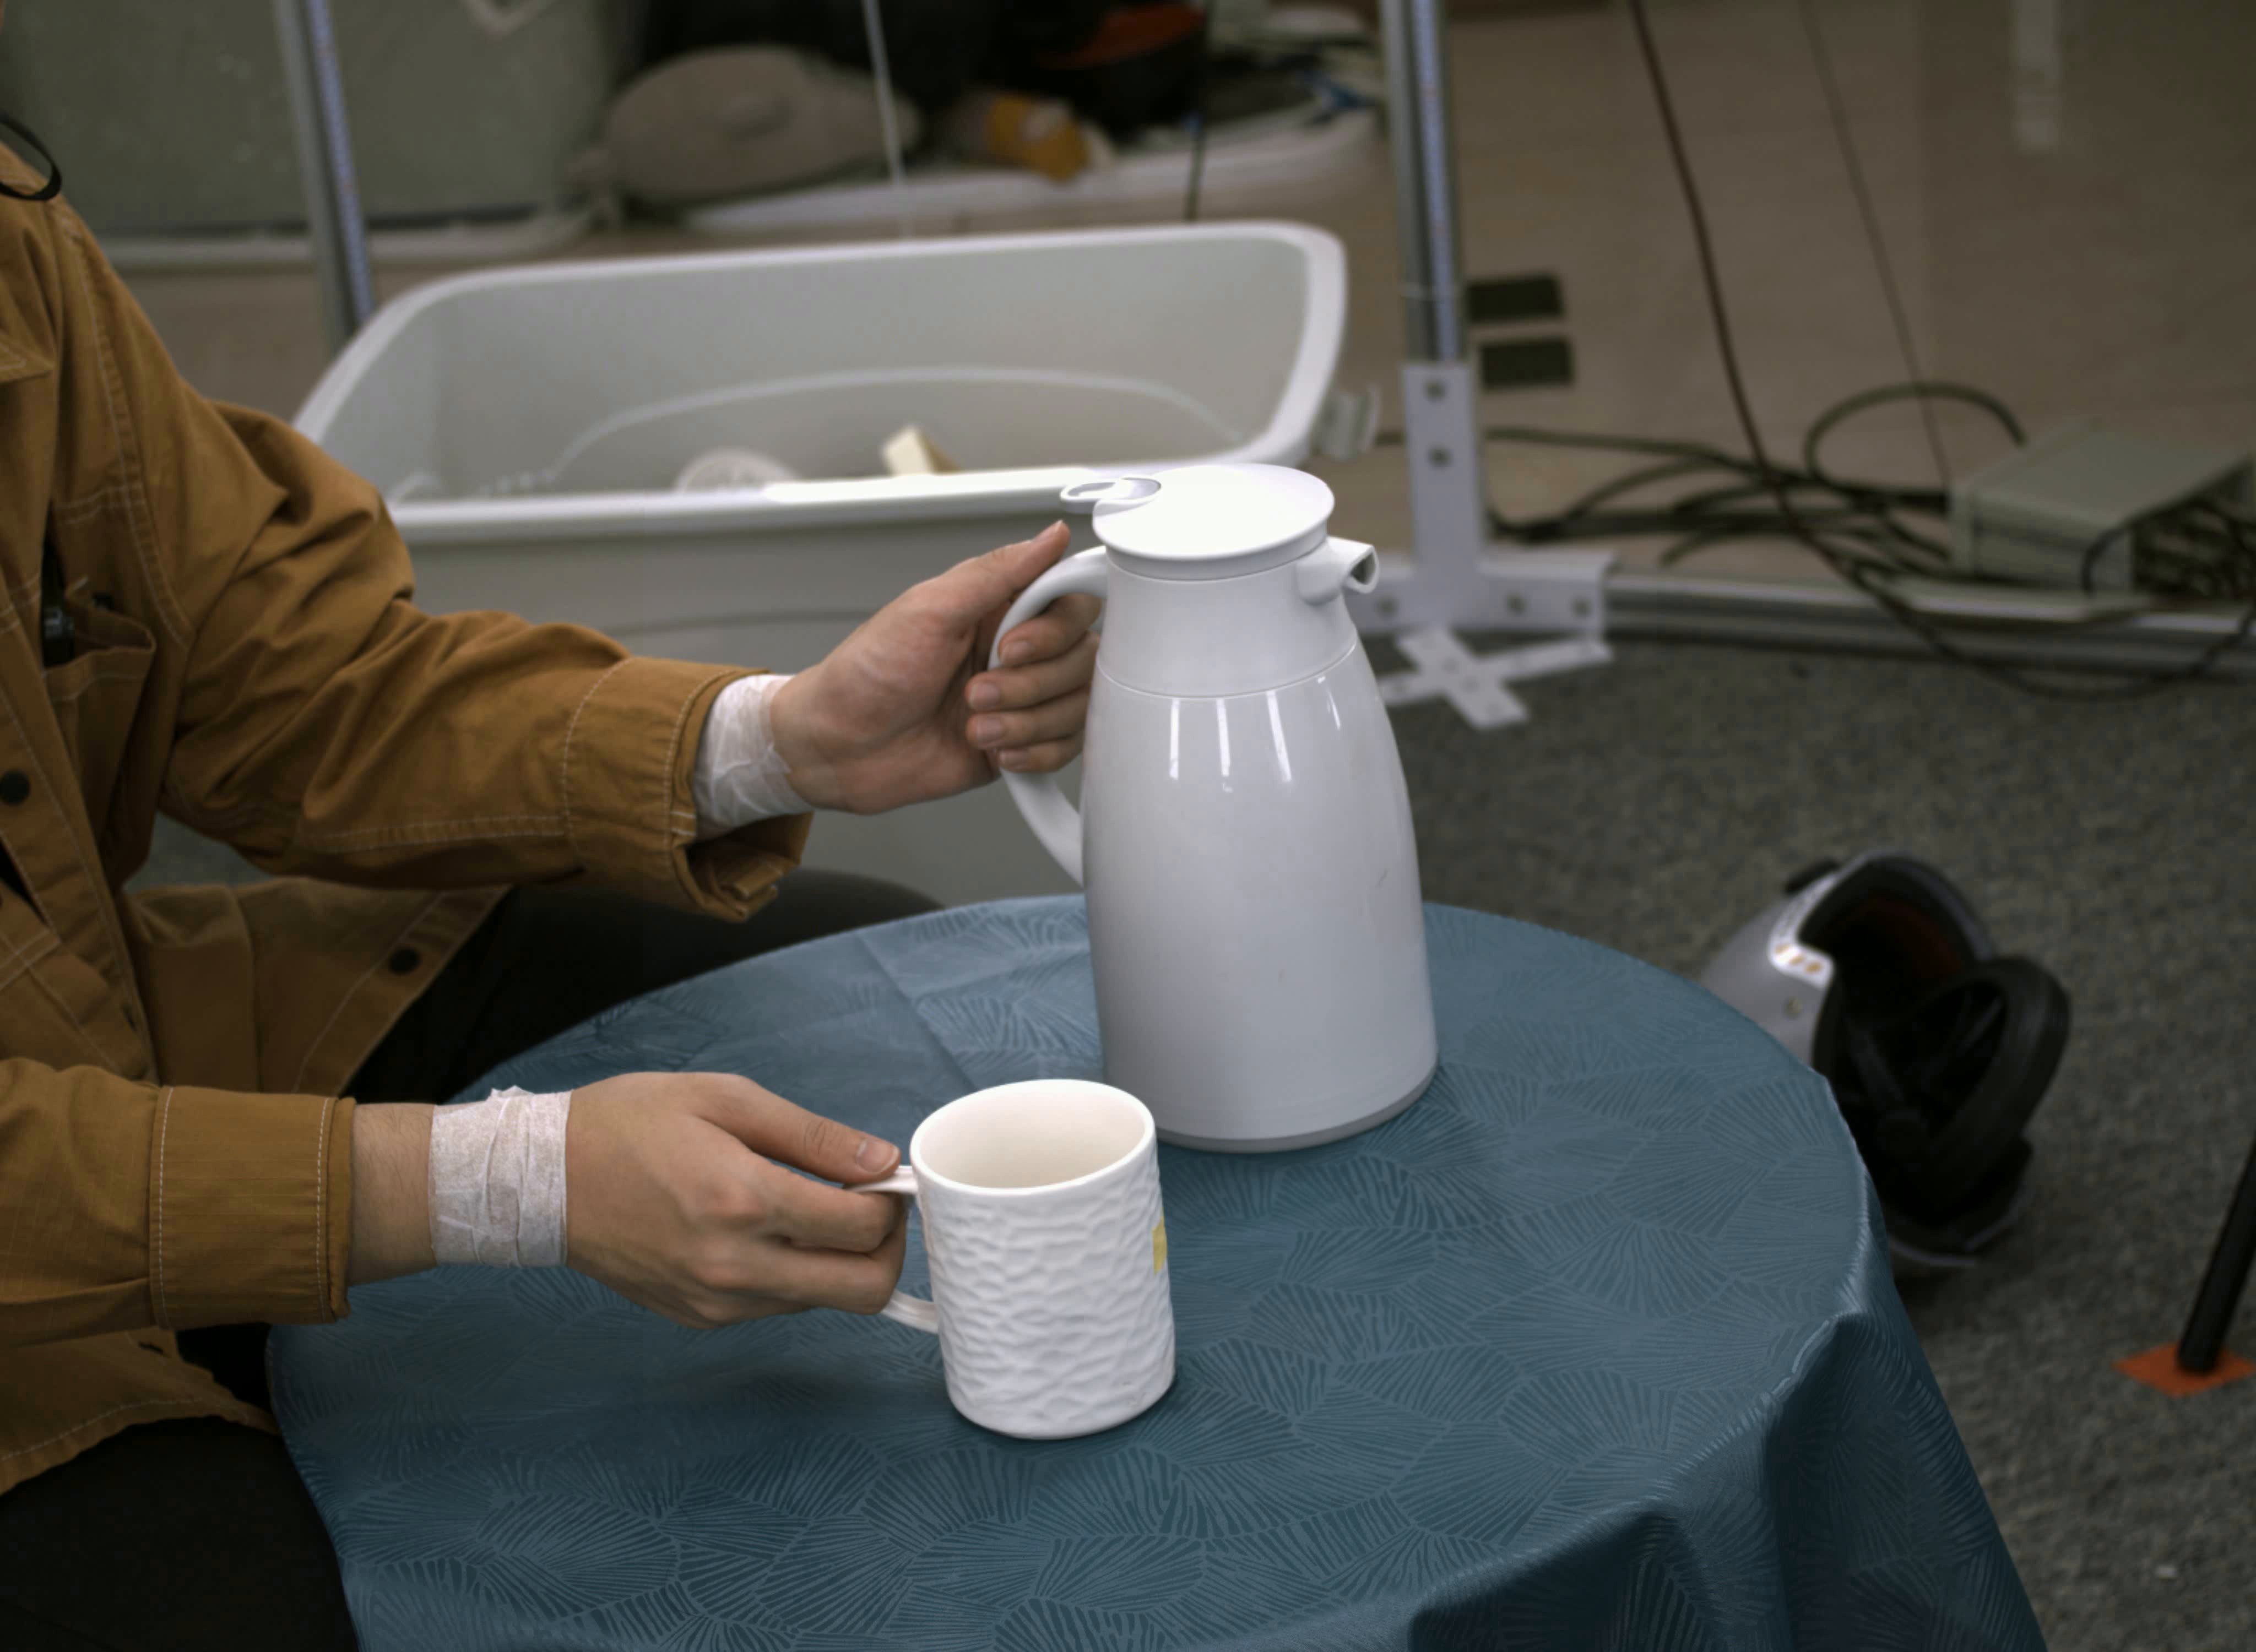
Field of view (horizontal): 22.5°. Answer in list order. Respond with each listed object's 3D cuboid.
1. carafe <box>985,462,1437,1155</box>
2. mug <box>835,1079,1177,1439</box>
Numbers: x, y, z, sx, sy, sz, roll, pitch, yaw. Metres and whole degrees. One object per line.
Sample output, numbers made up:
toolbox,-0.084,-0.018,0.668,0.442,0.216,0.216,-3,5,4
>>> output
carafe,0.026,-0.015,2.175,0.167,0.253,0.131,6,29,24
mug,-0.044,0.154,2.007,0.118,0.103,0.084,0,25,14
